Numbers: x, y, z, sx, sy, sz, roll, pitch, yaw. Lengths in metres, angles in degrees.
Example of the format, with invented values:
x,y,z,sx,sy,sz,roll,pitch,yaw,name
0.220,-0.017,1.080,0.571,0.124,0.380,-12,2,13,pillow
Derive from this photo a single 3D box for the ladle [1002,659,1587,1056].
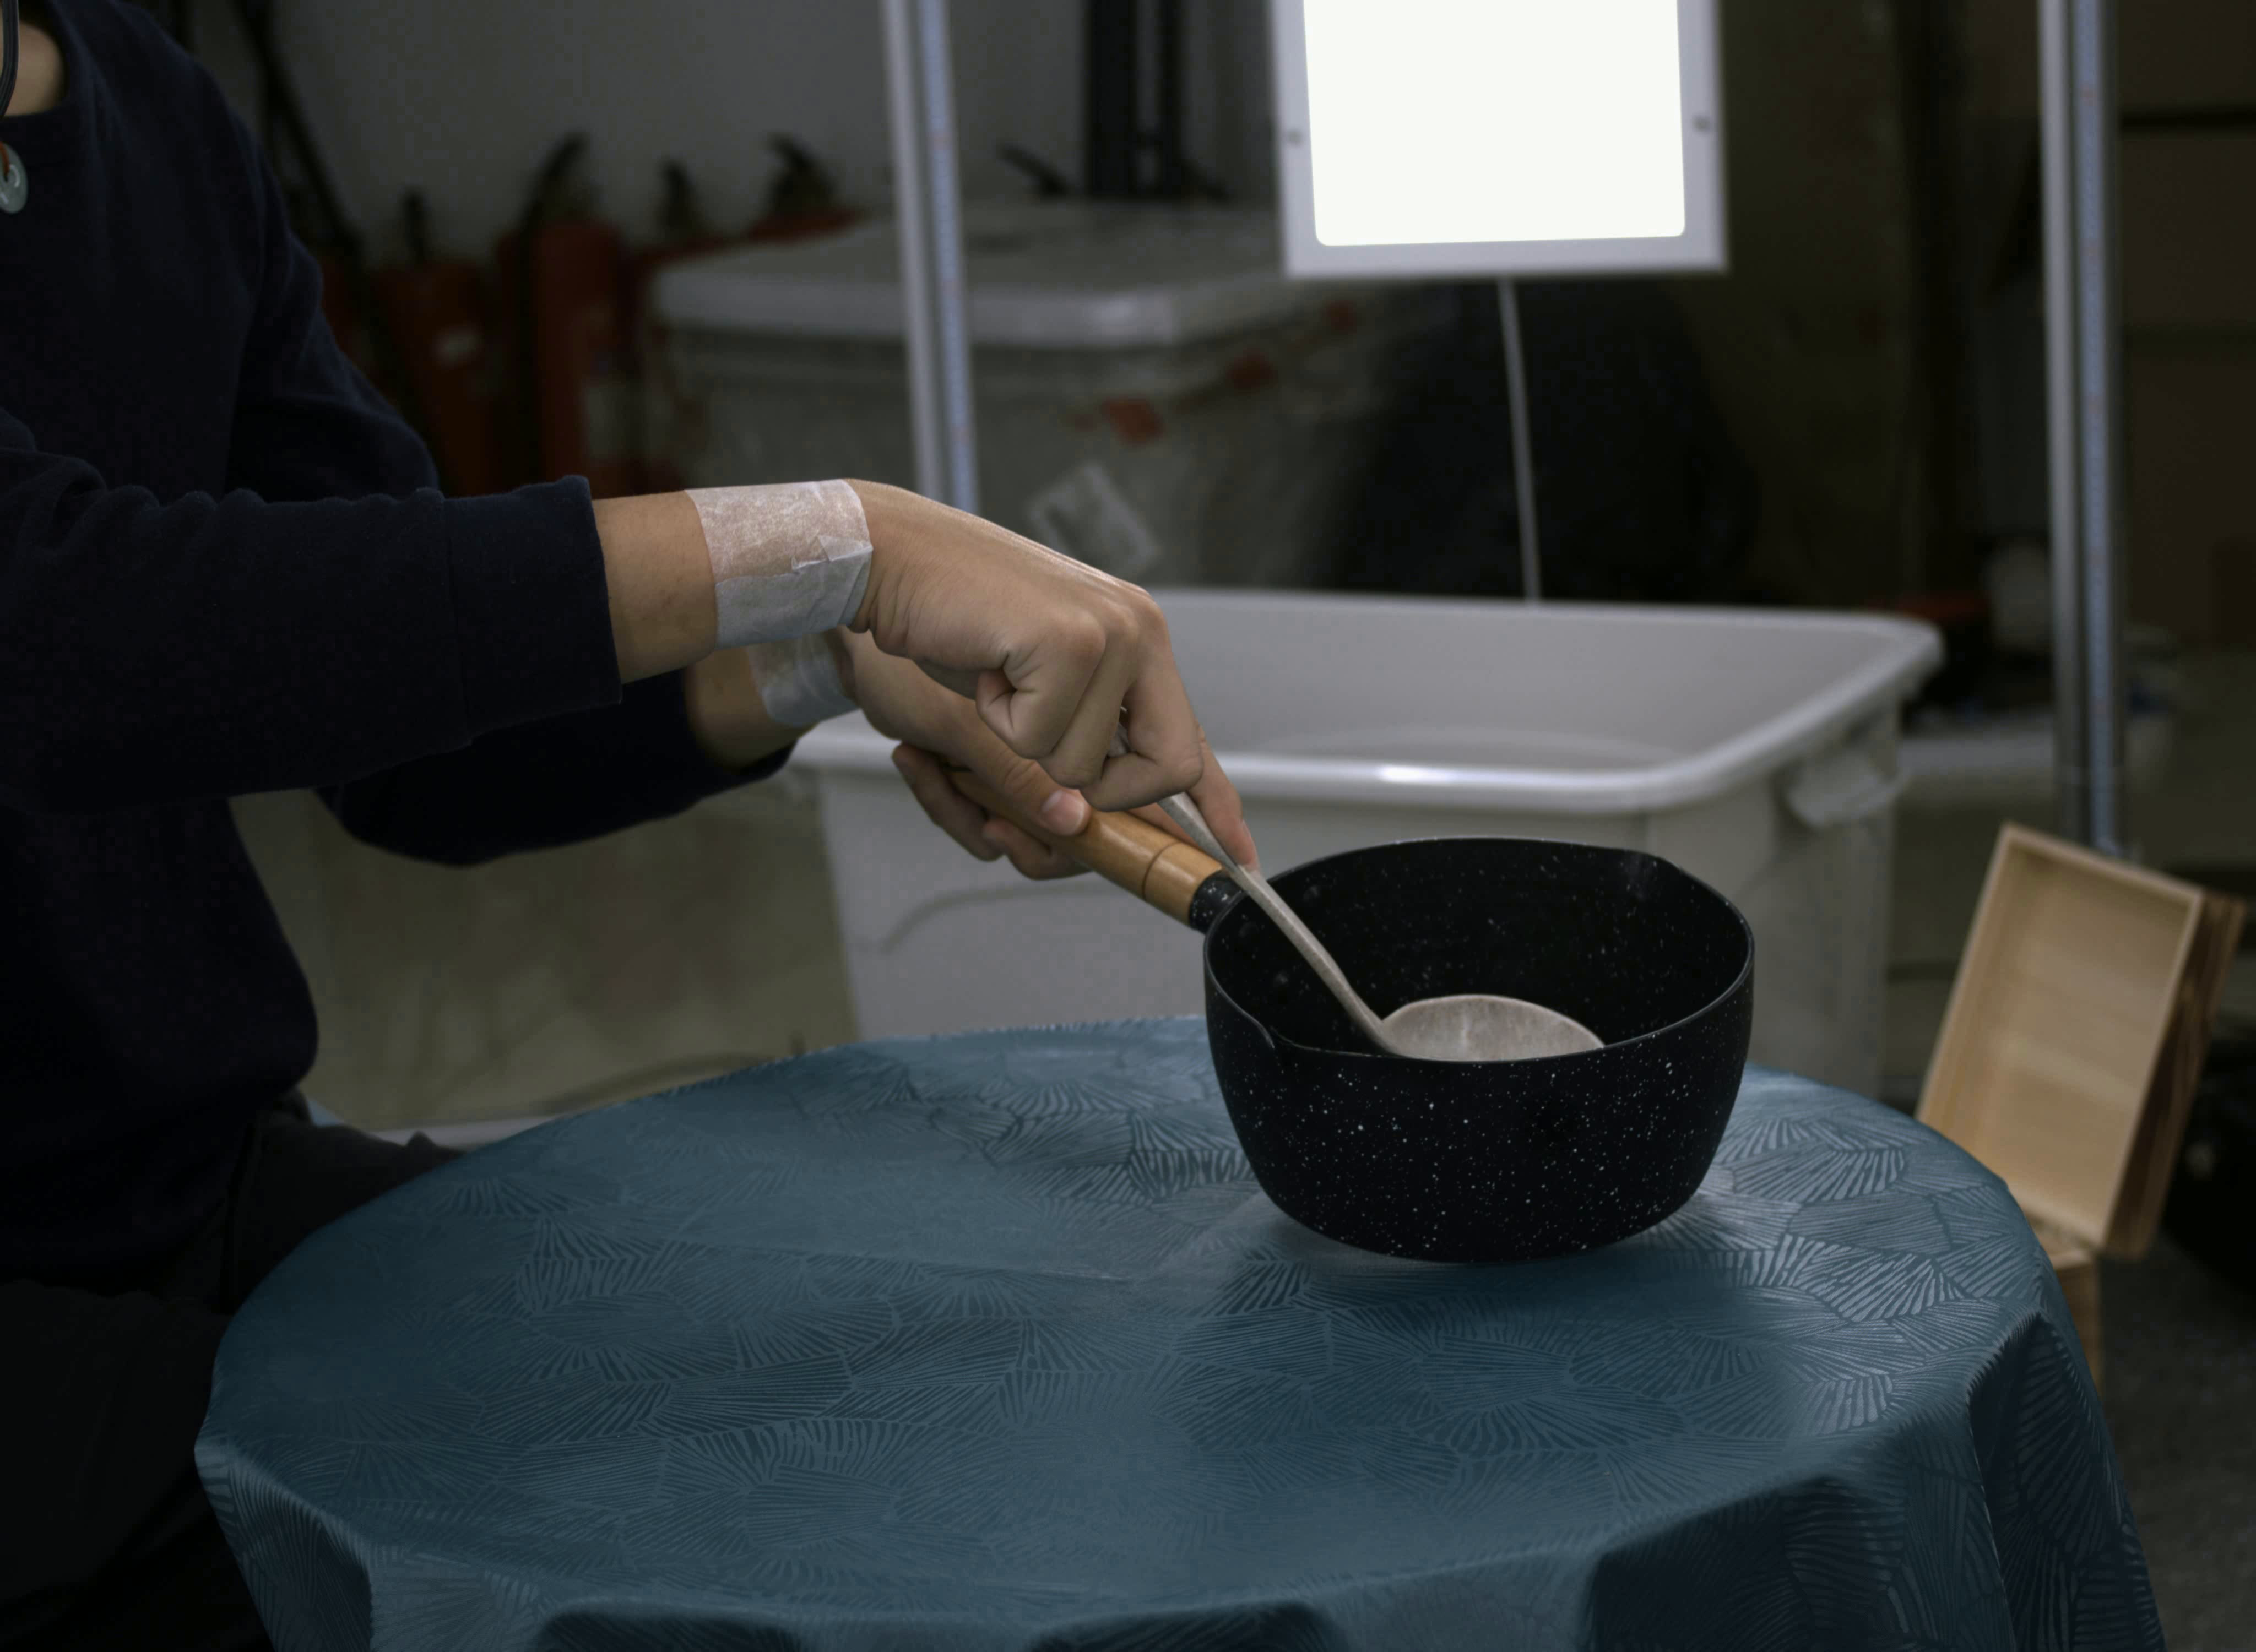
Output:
x,y,z,sx,sy,sz,roll,pitch,yaw,name
0.063,0.016,1.789,0.070,0.271,0.089,-34,34,11,ladle

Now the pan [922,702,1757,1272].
x,y,z,sx,sy,sz,roll,pitch,yaw,name
0.058,0.048,1.885,0.349,0.109,0.202,18,32,39,pan
